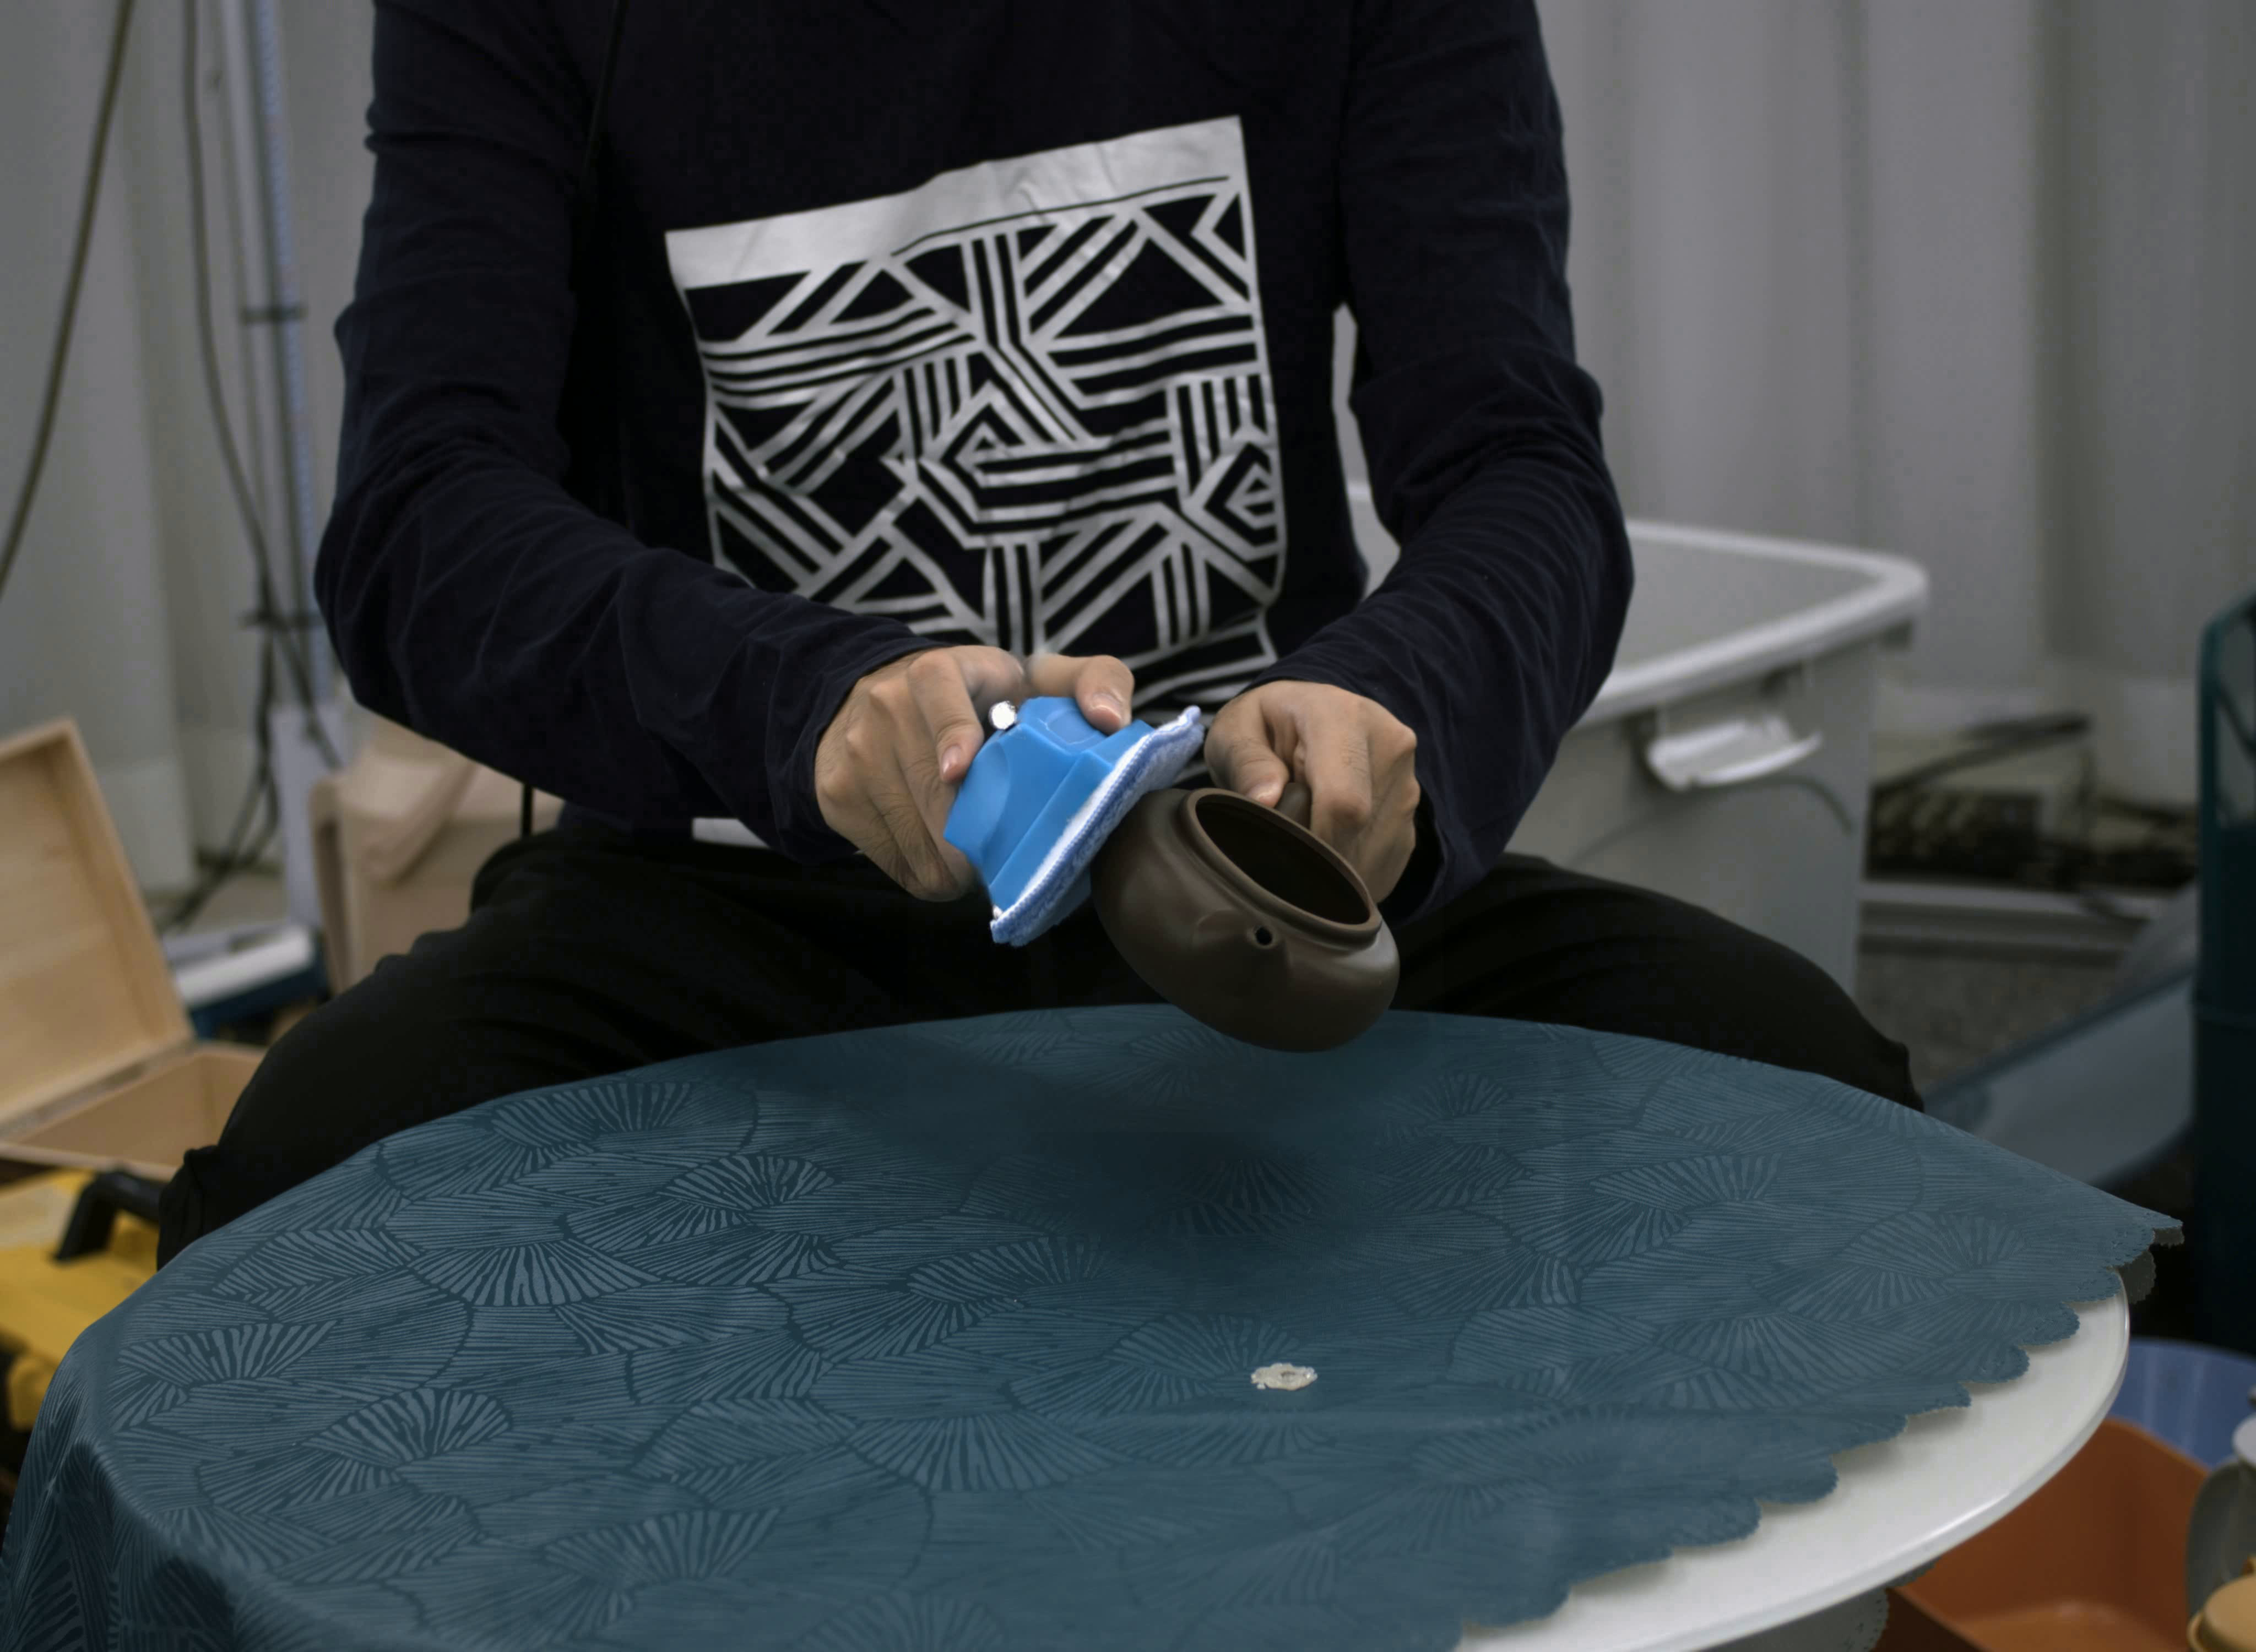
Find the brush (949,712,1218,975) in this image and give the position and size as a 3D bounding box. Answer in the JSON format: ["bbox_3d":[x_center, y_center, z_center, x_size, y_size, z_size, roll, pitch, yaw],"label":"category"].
[{"bbox_3d":[-0.021,0.002,1.694,0.083,0.056,0.144,-46,-2,11],"label":"brush"}]

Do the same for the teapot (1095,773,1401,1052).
[{"bbox_3d":[0.037,0.024,1.658,0.102,0.053,0.155,31,21,-9],"label":"teapot"}]
